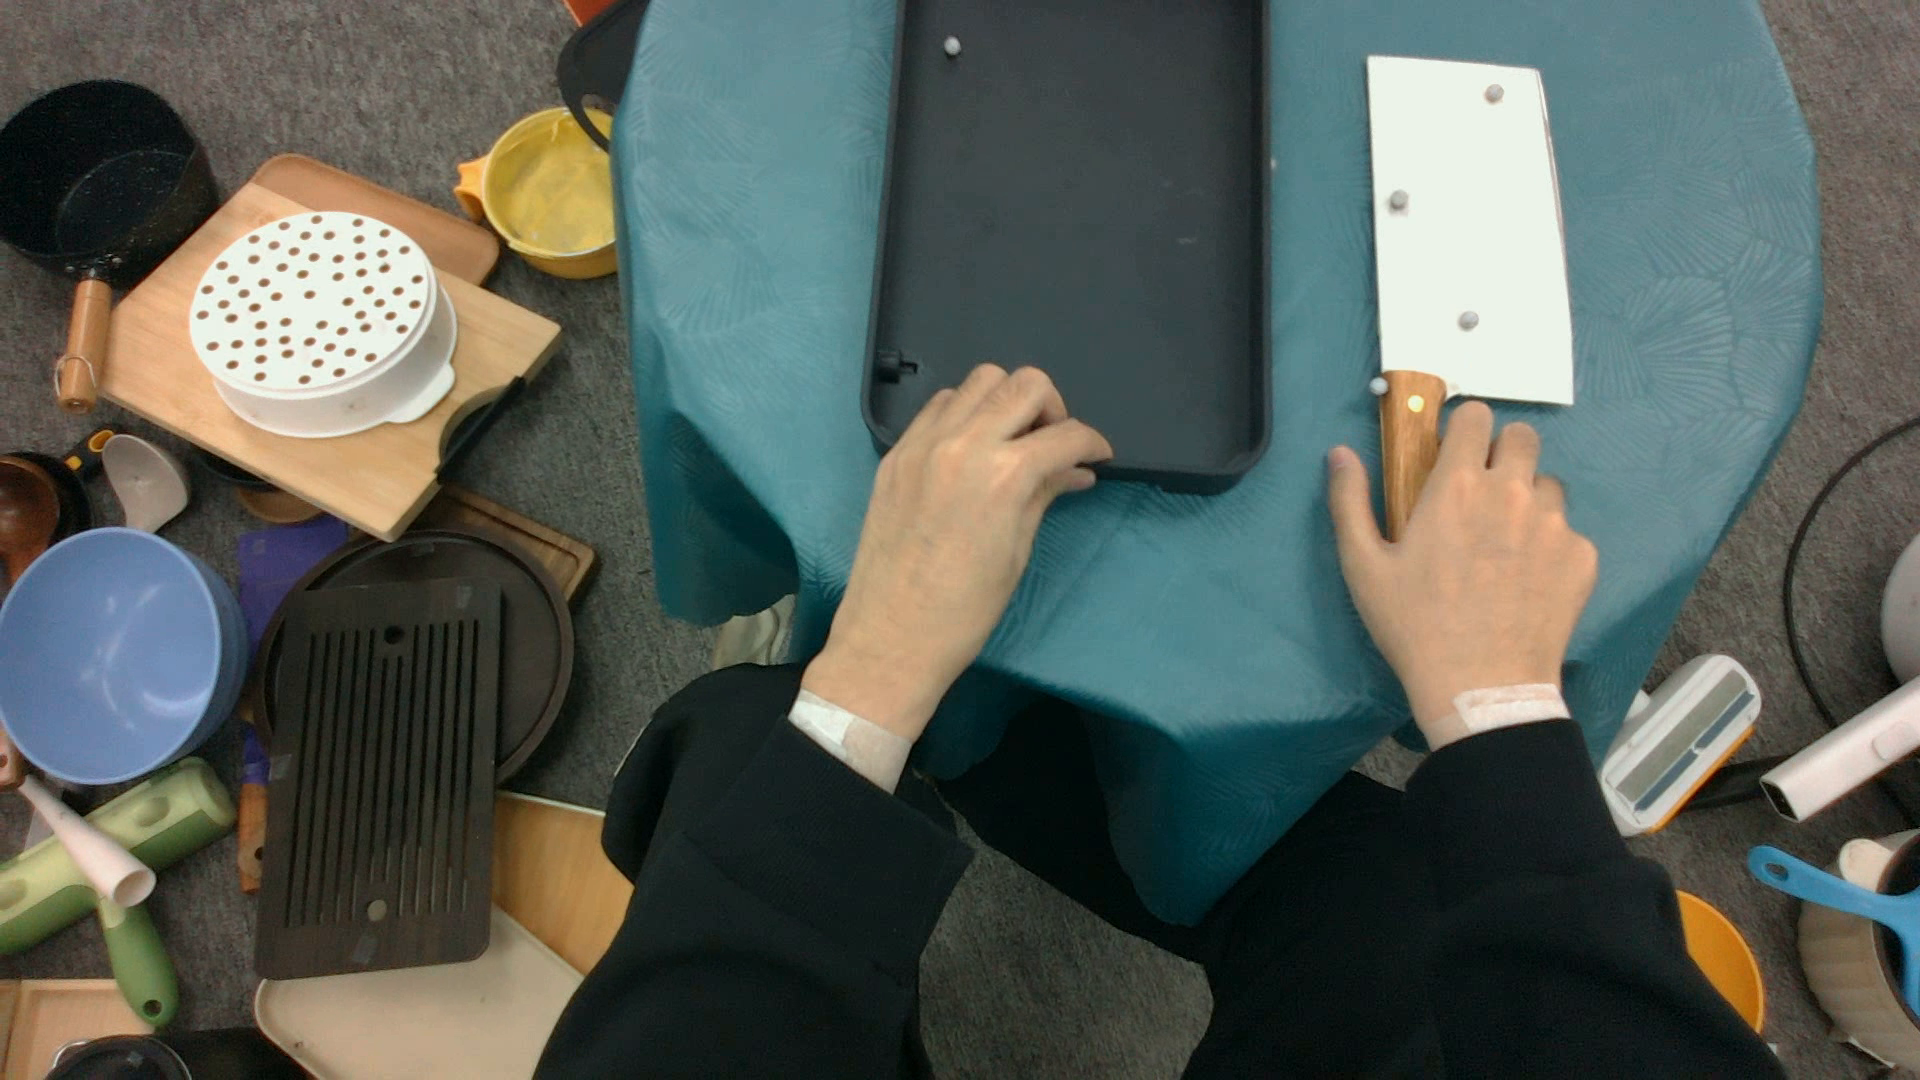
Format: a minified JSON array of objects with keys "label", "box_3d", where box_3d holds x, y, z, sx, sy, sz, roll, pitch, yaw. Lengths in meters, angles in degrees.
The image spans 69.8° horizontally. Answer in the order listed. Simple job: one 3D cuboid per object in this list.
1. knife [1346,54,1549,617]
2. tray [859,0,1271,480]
[{"label":"knife","box_3d":[0.234,-0.108,0.659,0.093,0.021,0.306,5,70,-3]},{"label":"tray","box_3d":[0.050,-0.184,0.666,0.184,0.037,0.319,2,72,-2]}]
